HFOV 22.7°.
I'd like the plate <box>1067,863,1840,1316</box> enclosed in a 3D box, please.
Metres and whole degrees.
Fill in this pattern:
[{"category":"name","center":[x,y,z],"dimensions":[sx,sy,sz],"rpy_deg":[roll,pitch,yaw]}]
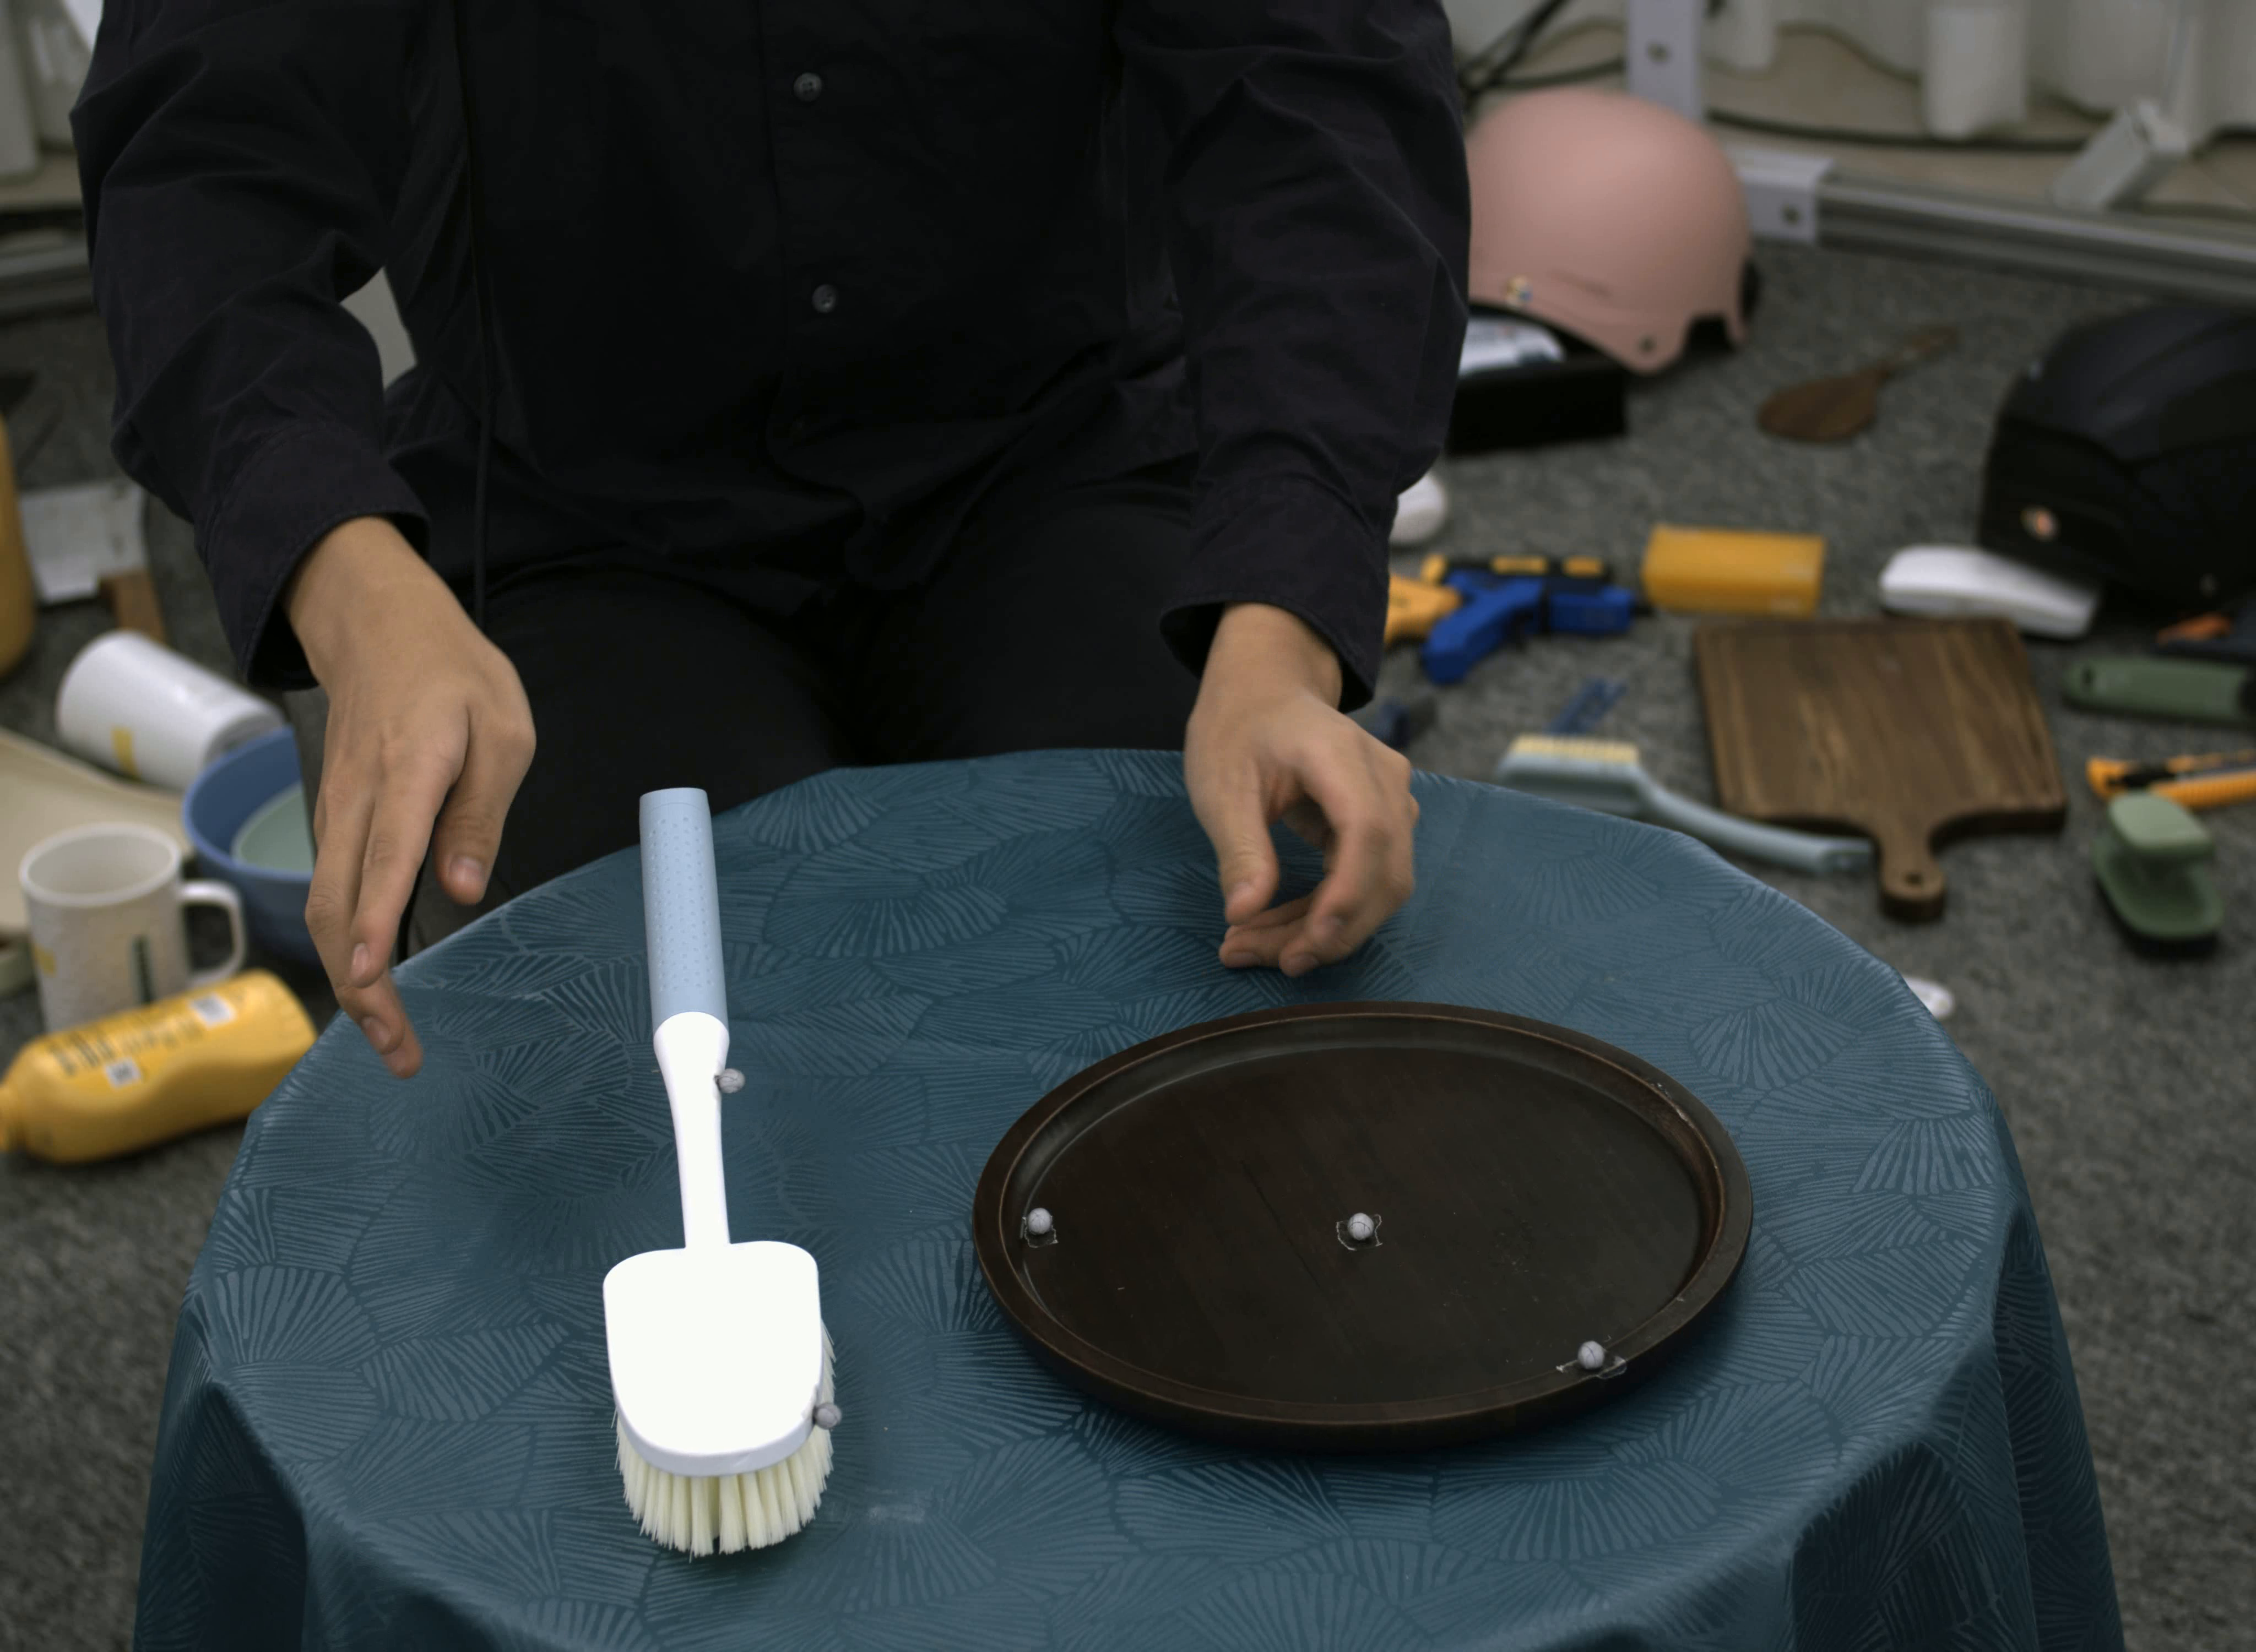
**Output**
[{"category":"plate","center":[0.106,0.085,1.837],"dimensions":[0.253,0.029,0.259],"rpy_deg":[-4,29,2]}]

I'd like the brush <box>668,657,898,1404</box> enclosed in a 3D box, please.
[{"category":"brush","center":[-0.112,0.073,1.822],"dimensions":[0.083,0.083,0.331],"rpy_deg":[26,31,-25]}]
